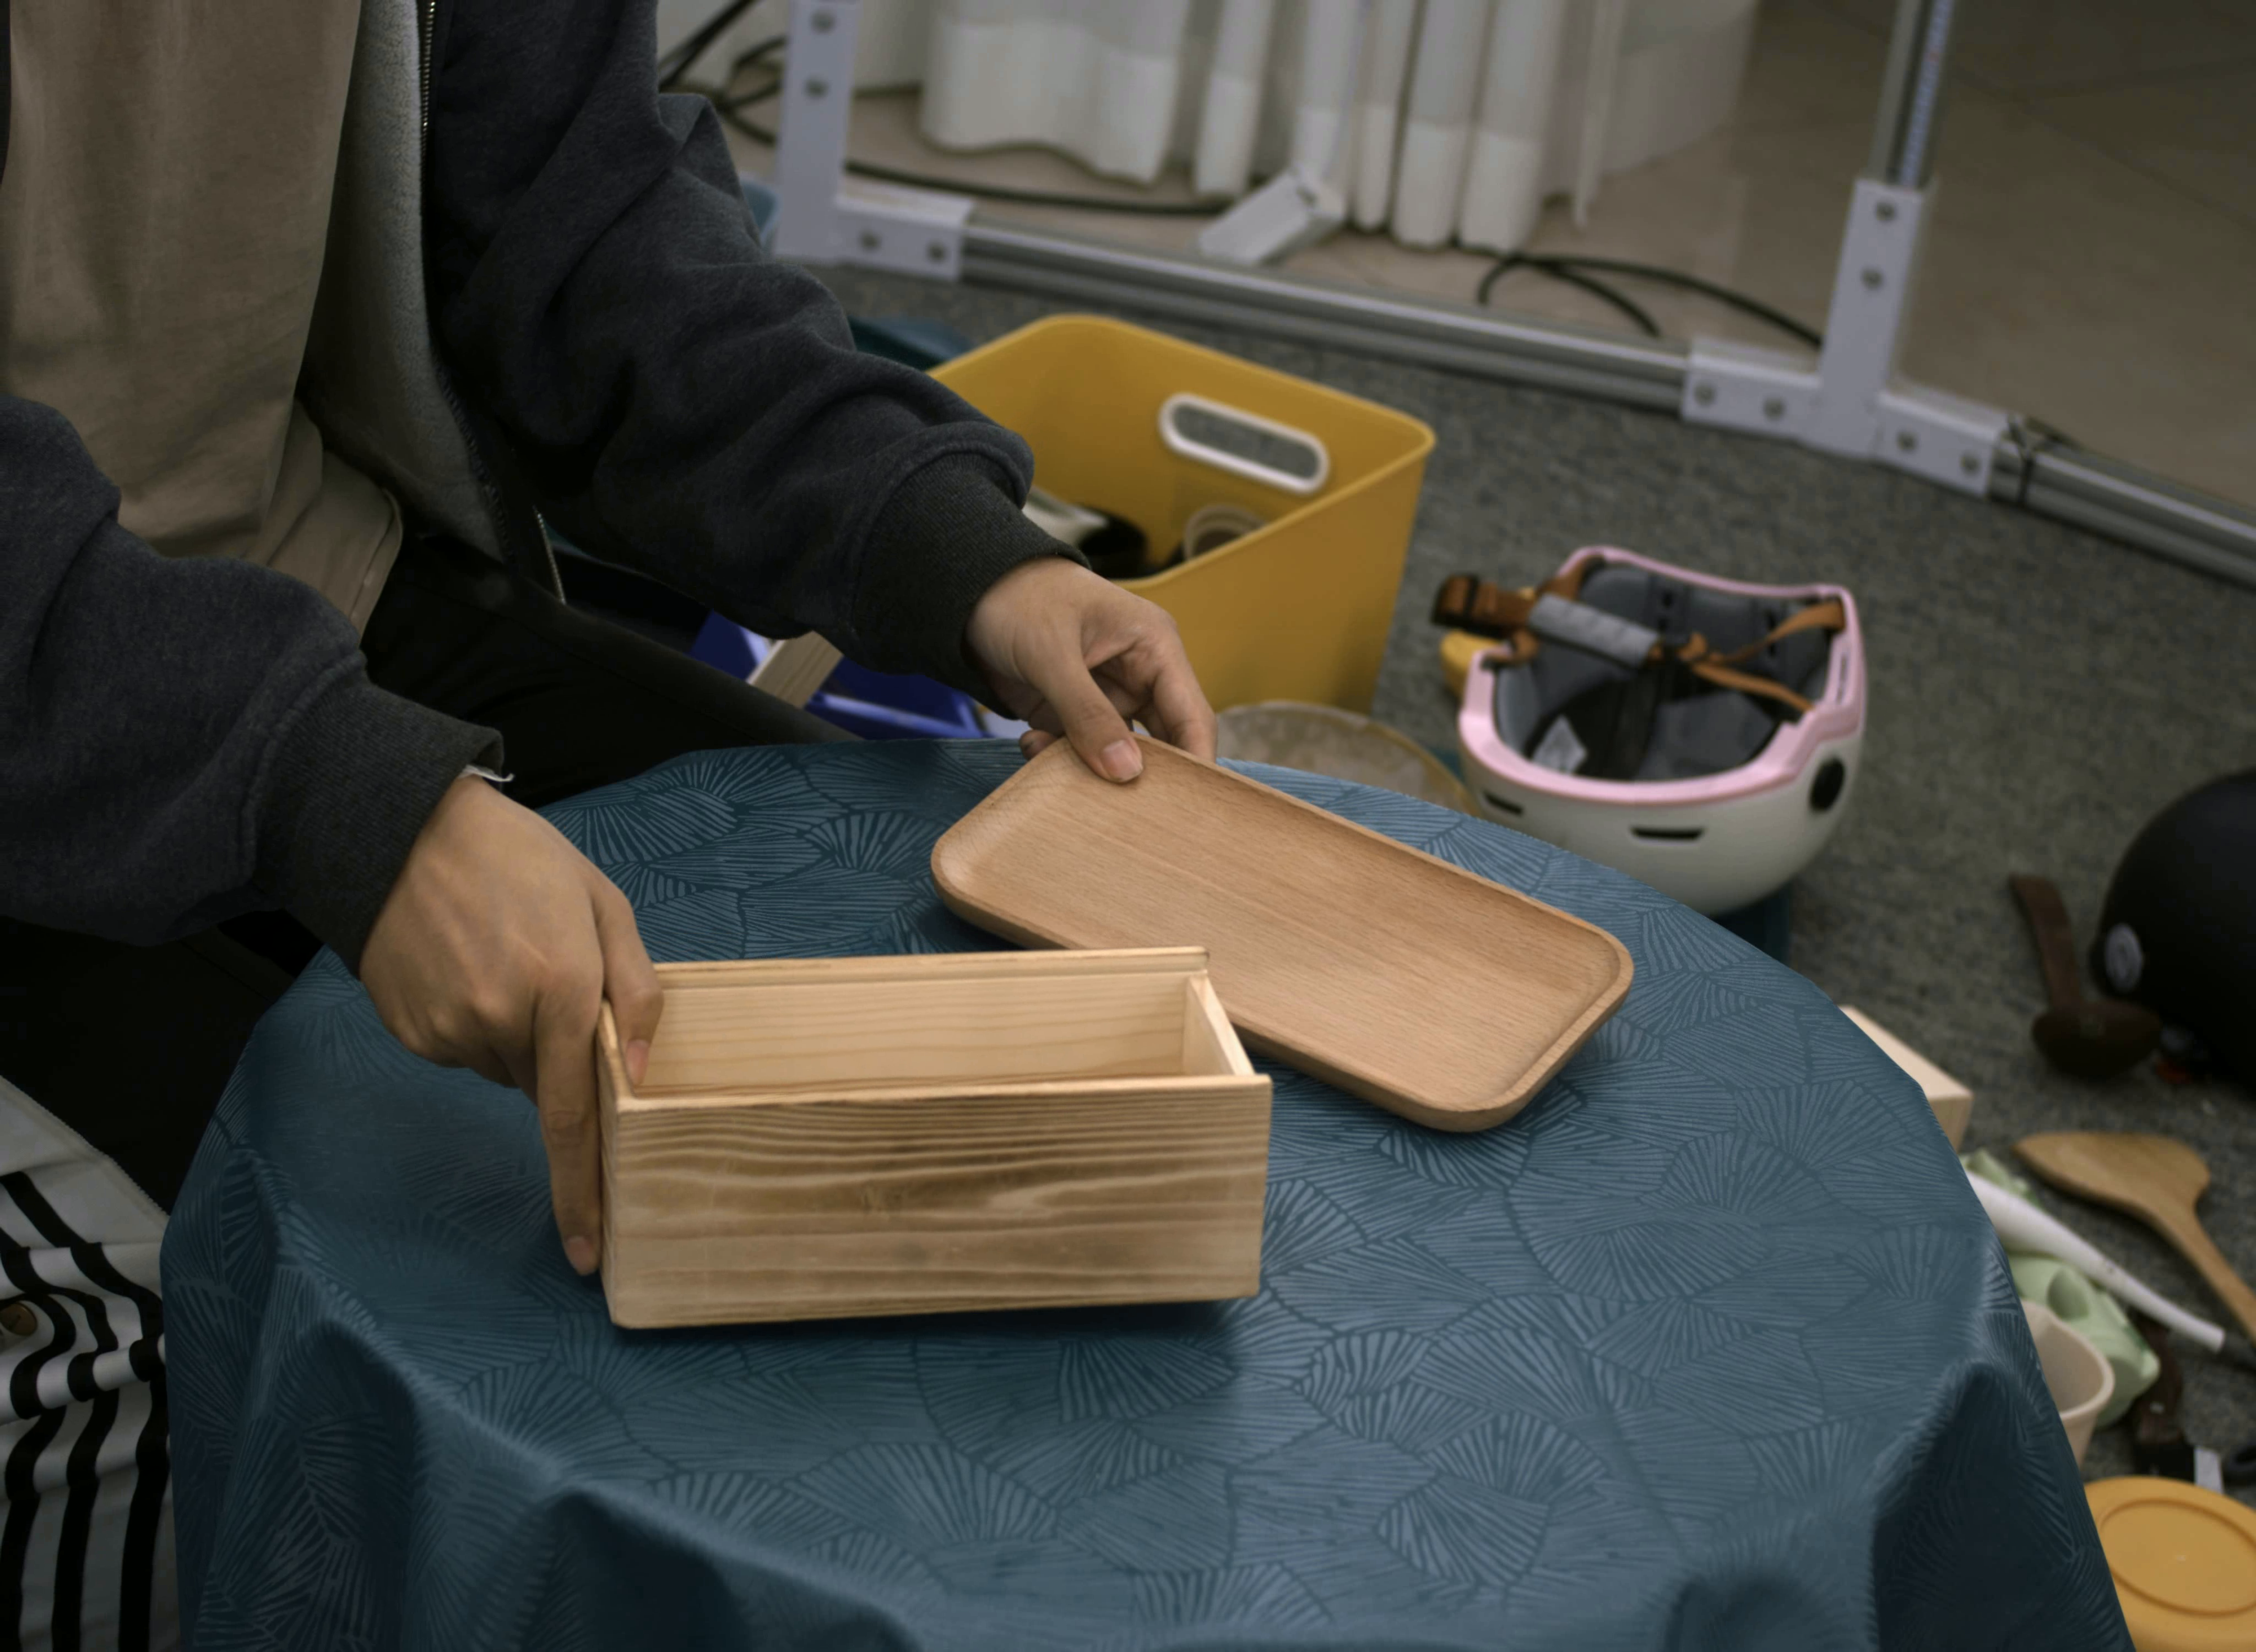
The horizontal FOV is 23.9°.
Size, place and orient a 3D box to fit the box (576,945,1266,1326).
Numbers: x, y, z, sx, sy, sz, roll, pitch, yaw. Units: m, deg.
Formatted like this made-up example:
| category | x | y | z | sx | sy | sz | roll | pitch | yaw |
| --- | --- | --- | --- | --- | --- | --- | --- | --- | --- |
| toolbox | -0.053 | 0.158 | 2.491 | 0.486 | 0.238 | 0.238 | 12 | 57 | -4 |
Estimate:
| category | x | y | z | sx | sy | sz | roll | pitch | yaw |
| --- | --- | --- | --- | --- | --- | --- | --- | --- | --- |
| box | -0.070 | 0.099 | 1.731 | 0.210 | 0.080 | 0.108 | -2 | 24 | -11 |

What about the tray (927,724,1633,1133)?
| category | x | y | z | sx | sy | sz | roll | pitch | yaw |
| --- | --- | --- | --- | --- | --- | --- | --- | --- | --- |
| tray | 0.054 | 0.036 | 1.937 | 0.252 | 0.023 | 0.130 | 23 | 39 | 26 |
